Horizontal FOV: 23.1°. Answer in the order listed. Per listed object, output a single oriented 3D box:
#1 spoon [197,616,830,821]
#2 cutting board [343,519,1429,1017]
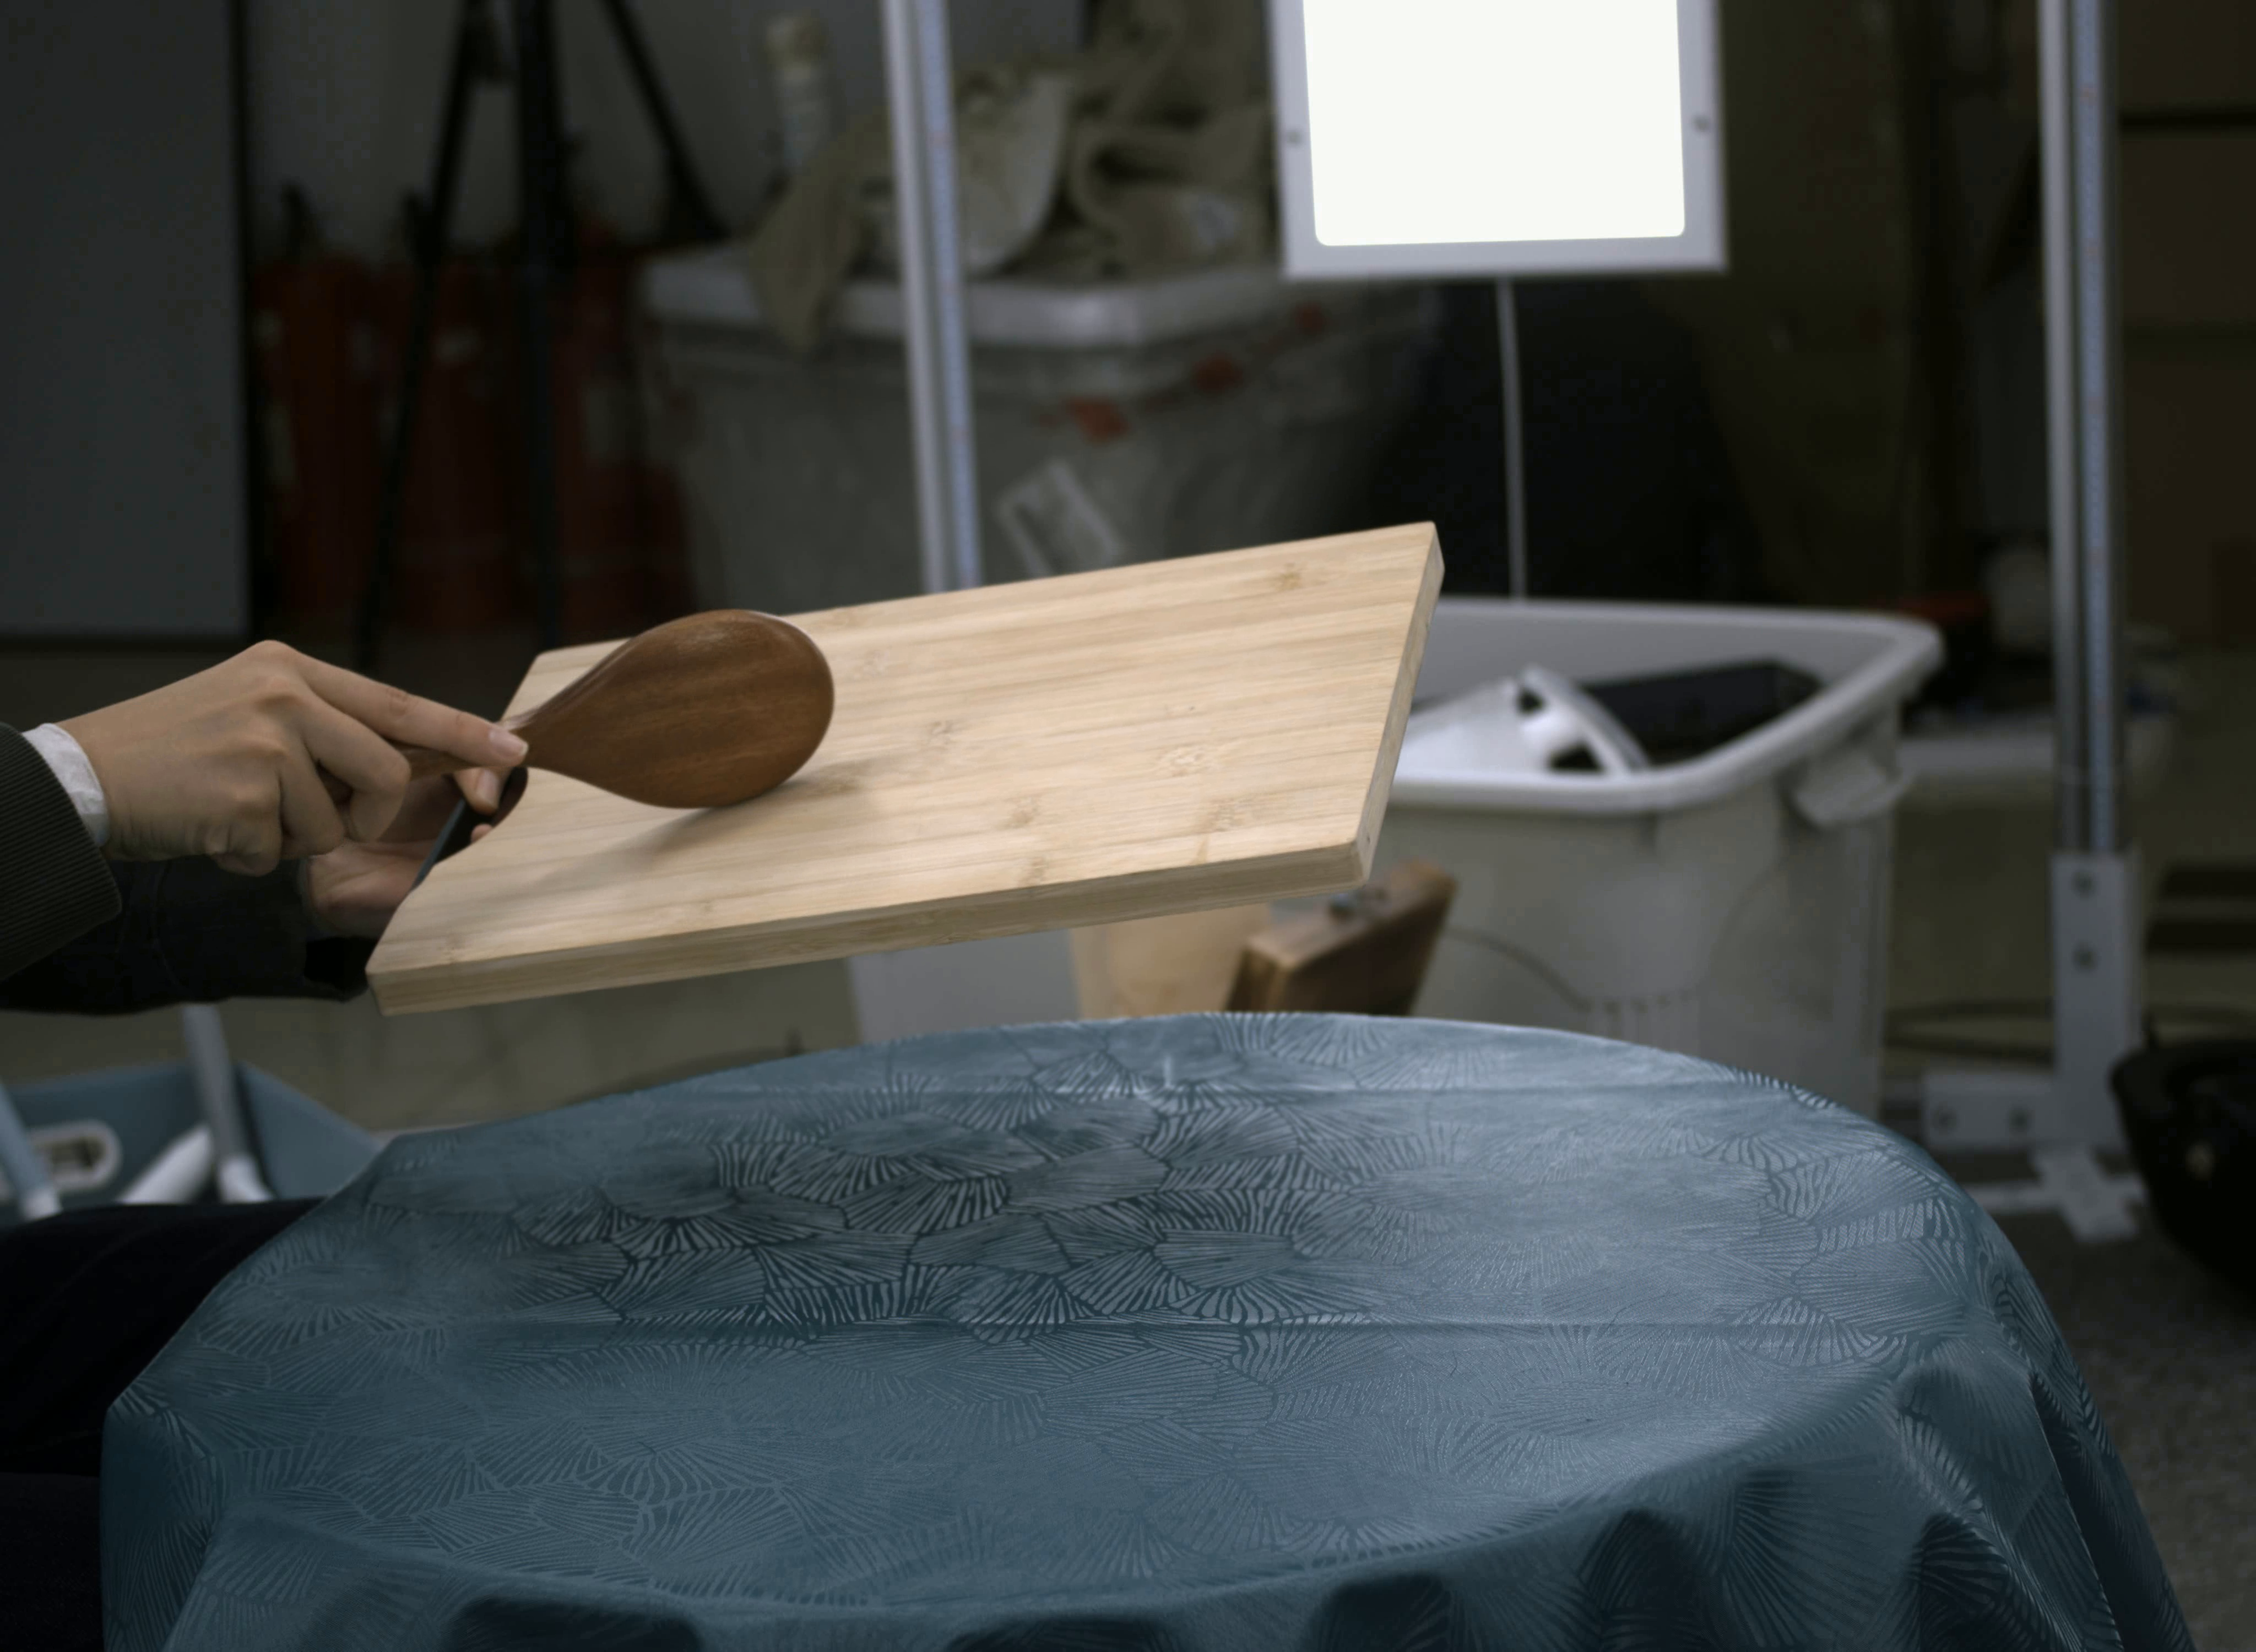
[{"bbox_3d":[-0.202,-0.027,1.837,0.213,0.076,0.017,-8,36,-13],"label":"spoon"},{"bbox_3d":[-0.076,-0.021,1.887,0.352,0.023,0.248,-9,26,15],"label":"cutting board"}]
